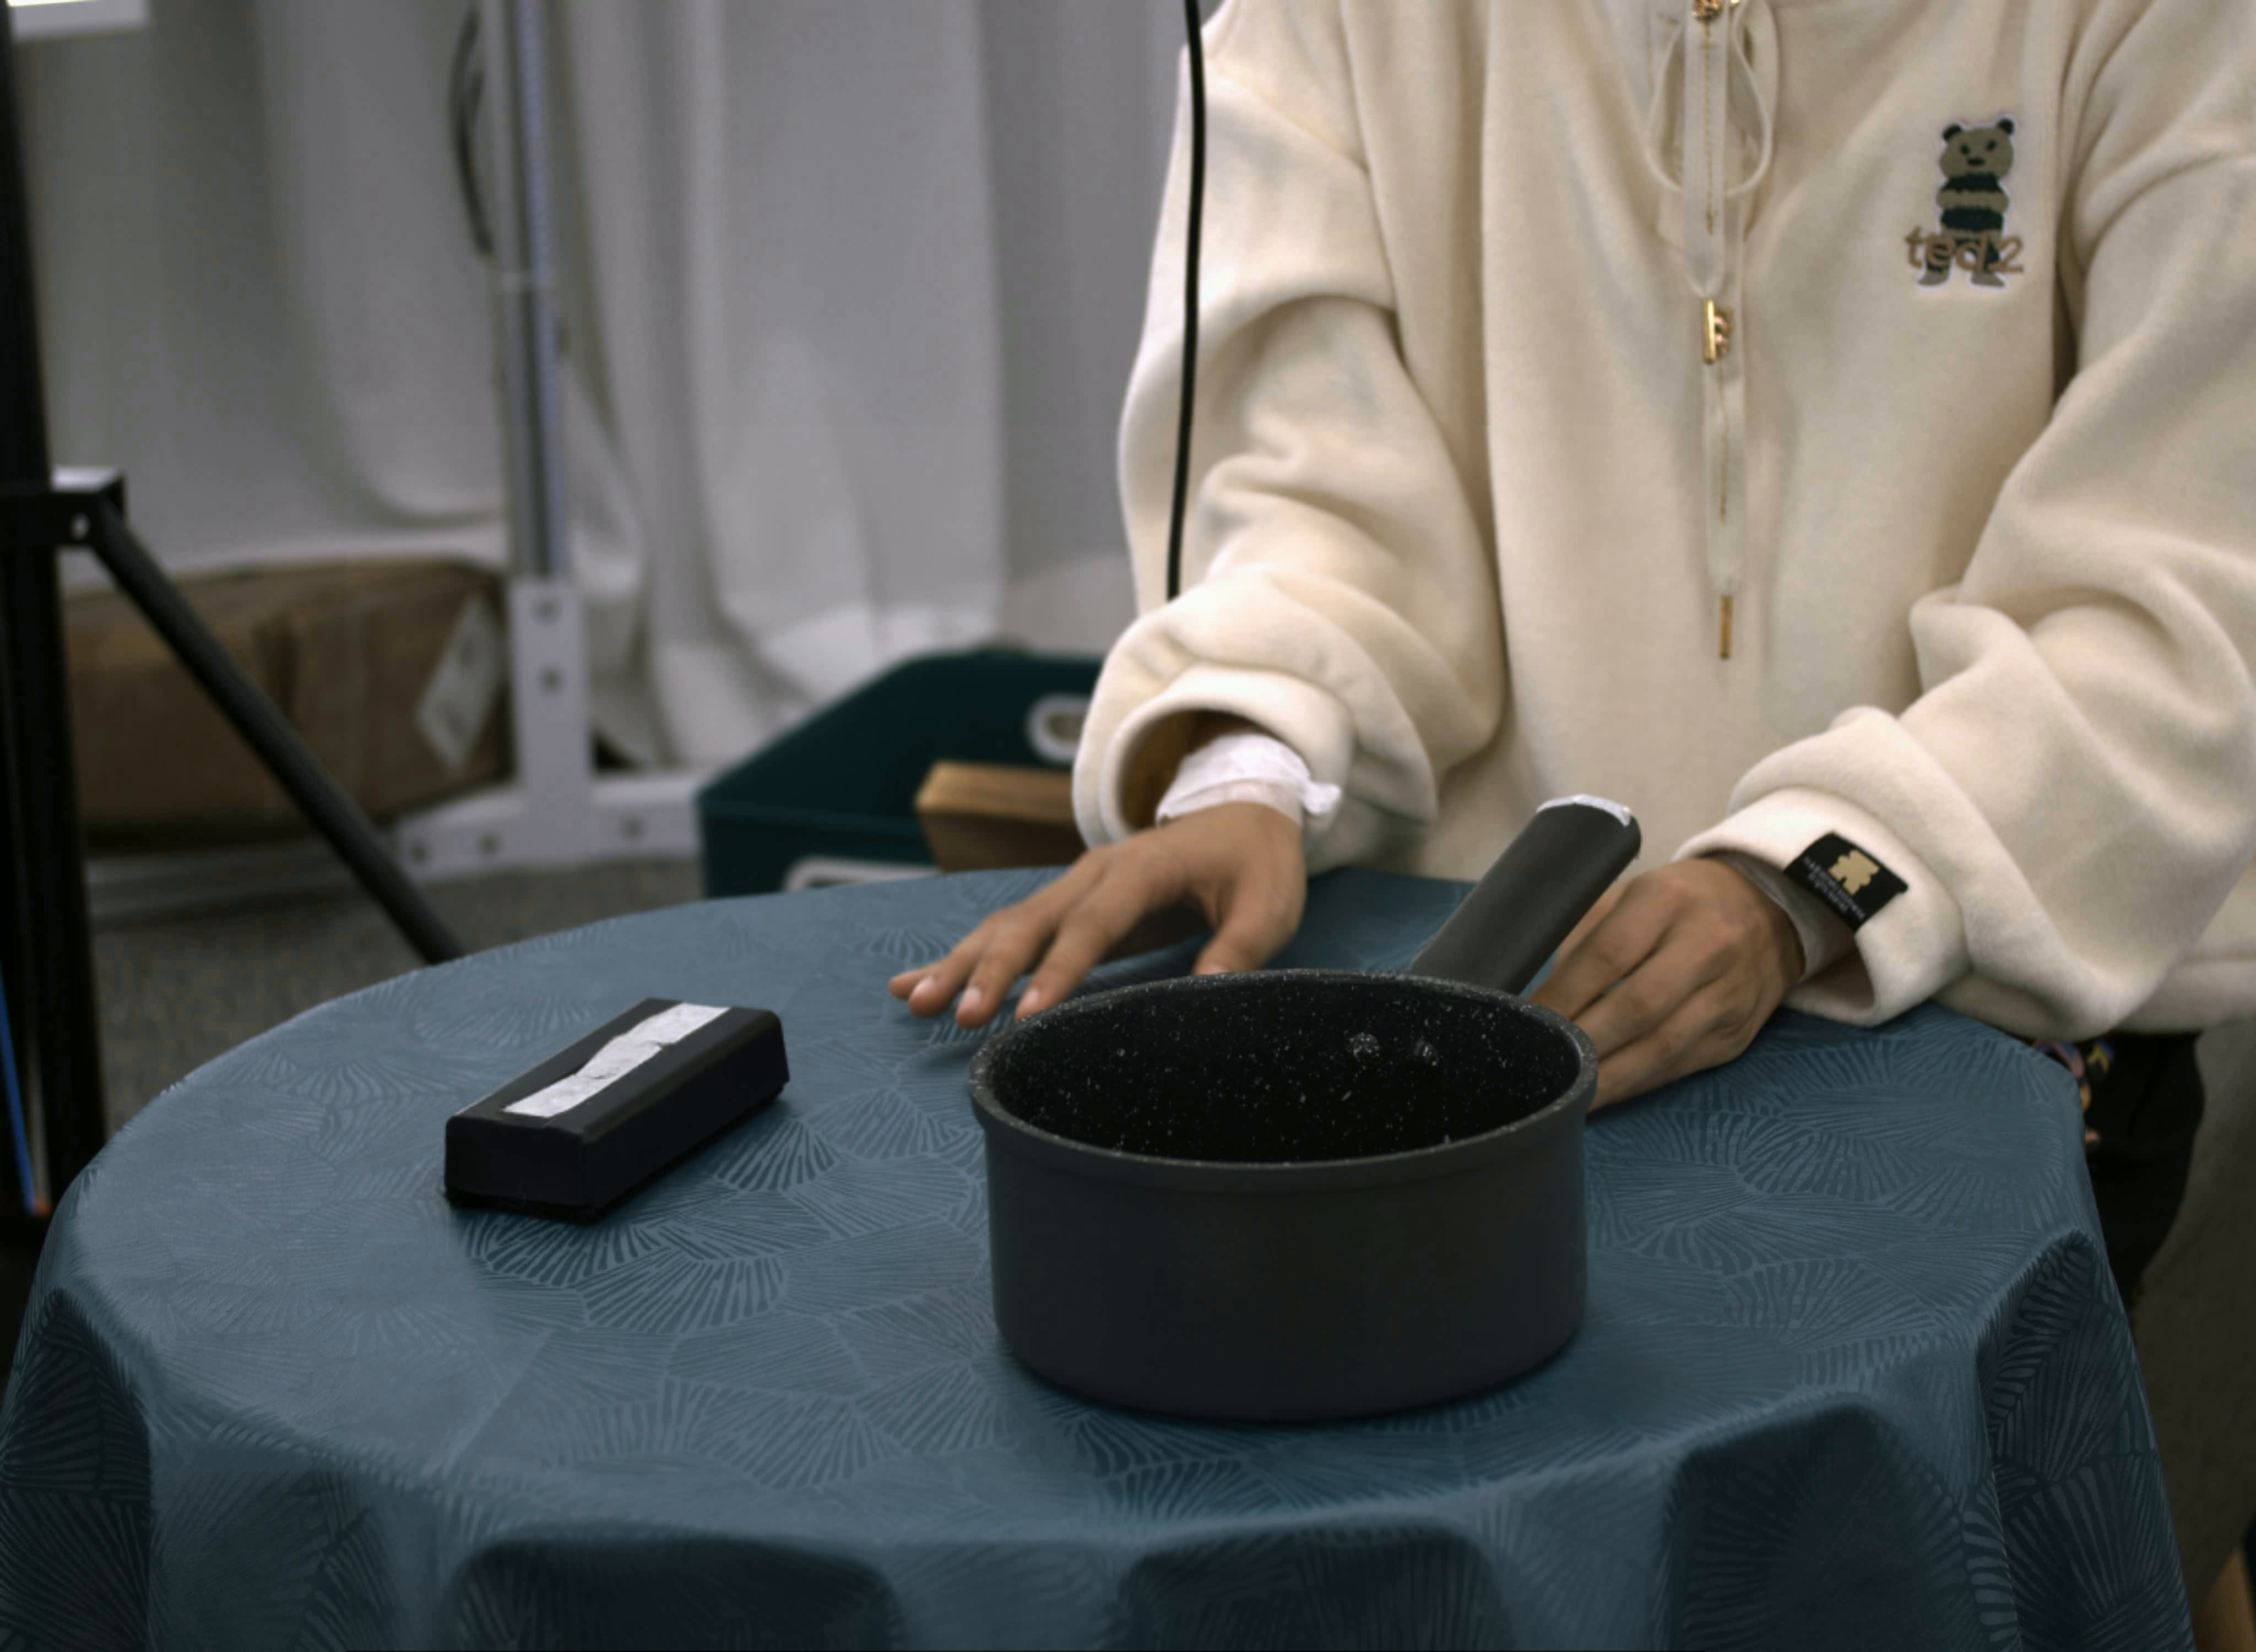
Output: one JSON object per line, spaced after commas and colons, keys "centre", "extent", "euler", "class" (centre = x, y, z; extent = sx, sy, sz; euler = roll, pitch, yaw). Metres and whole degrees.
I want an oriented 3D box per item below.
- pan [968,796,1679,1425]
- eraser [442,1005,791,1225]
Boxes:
{"centre": [0.079, 0.076, 1.504], "extent": [0.175, 0.086, 0.323], "euler": [7, 19, 27], "class": "pan"}
{"centre": [-0.153, 0.086, 1.610], "extent": [0.054, 0.030, 0.123], "euler": [6, 16, 24], "class": "eraser"}
